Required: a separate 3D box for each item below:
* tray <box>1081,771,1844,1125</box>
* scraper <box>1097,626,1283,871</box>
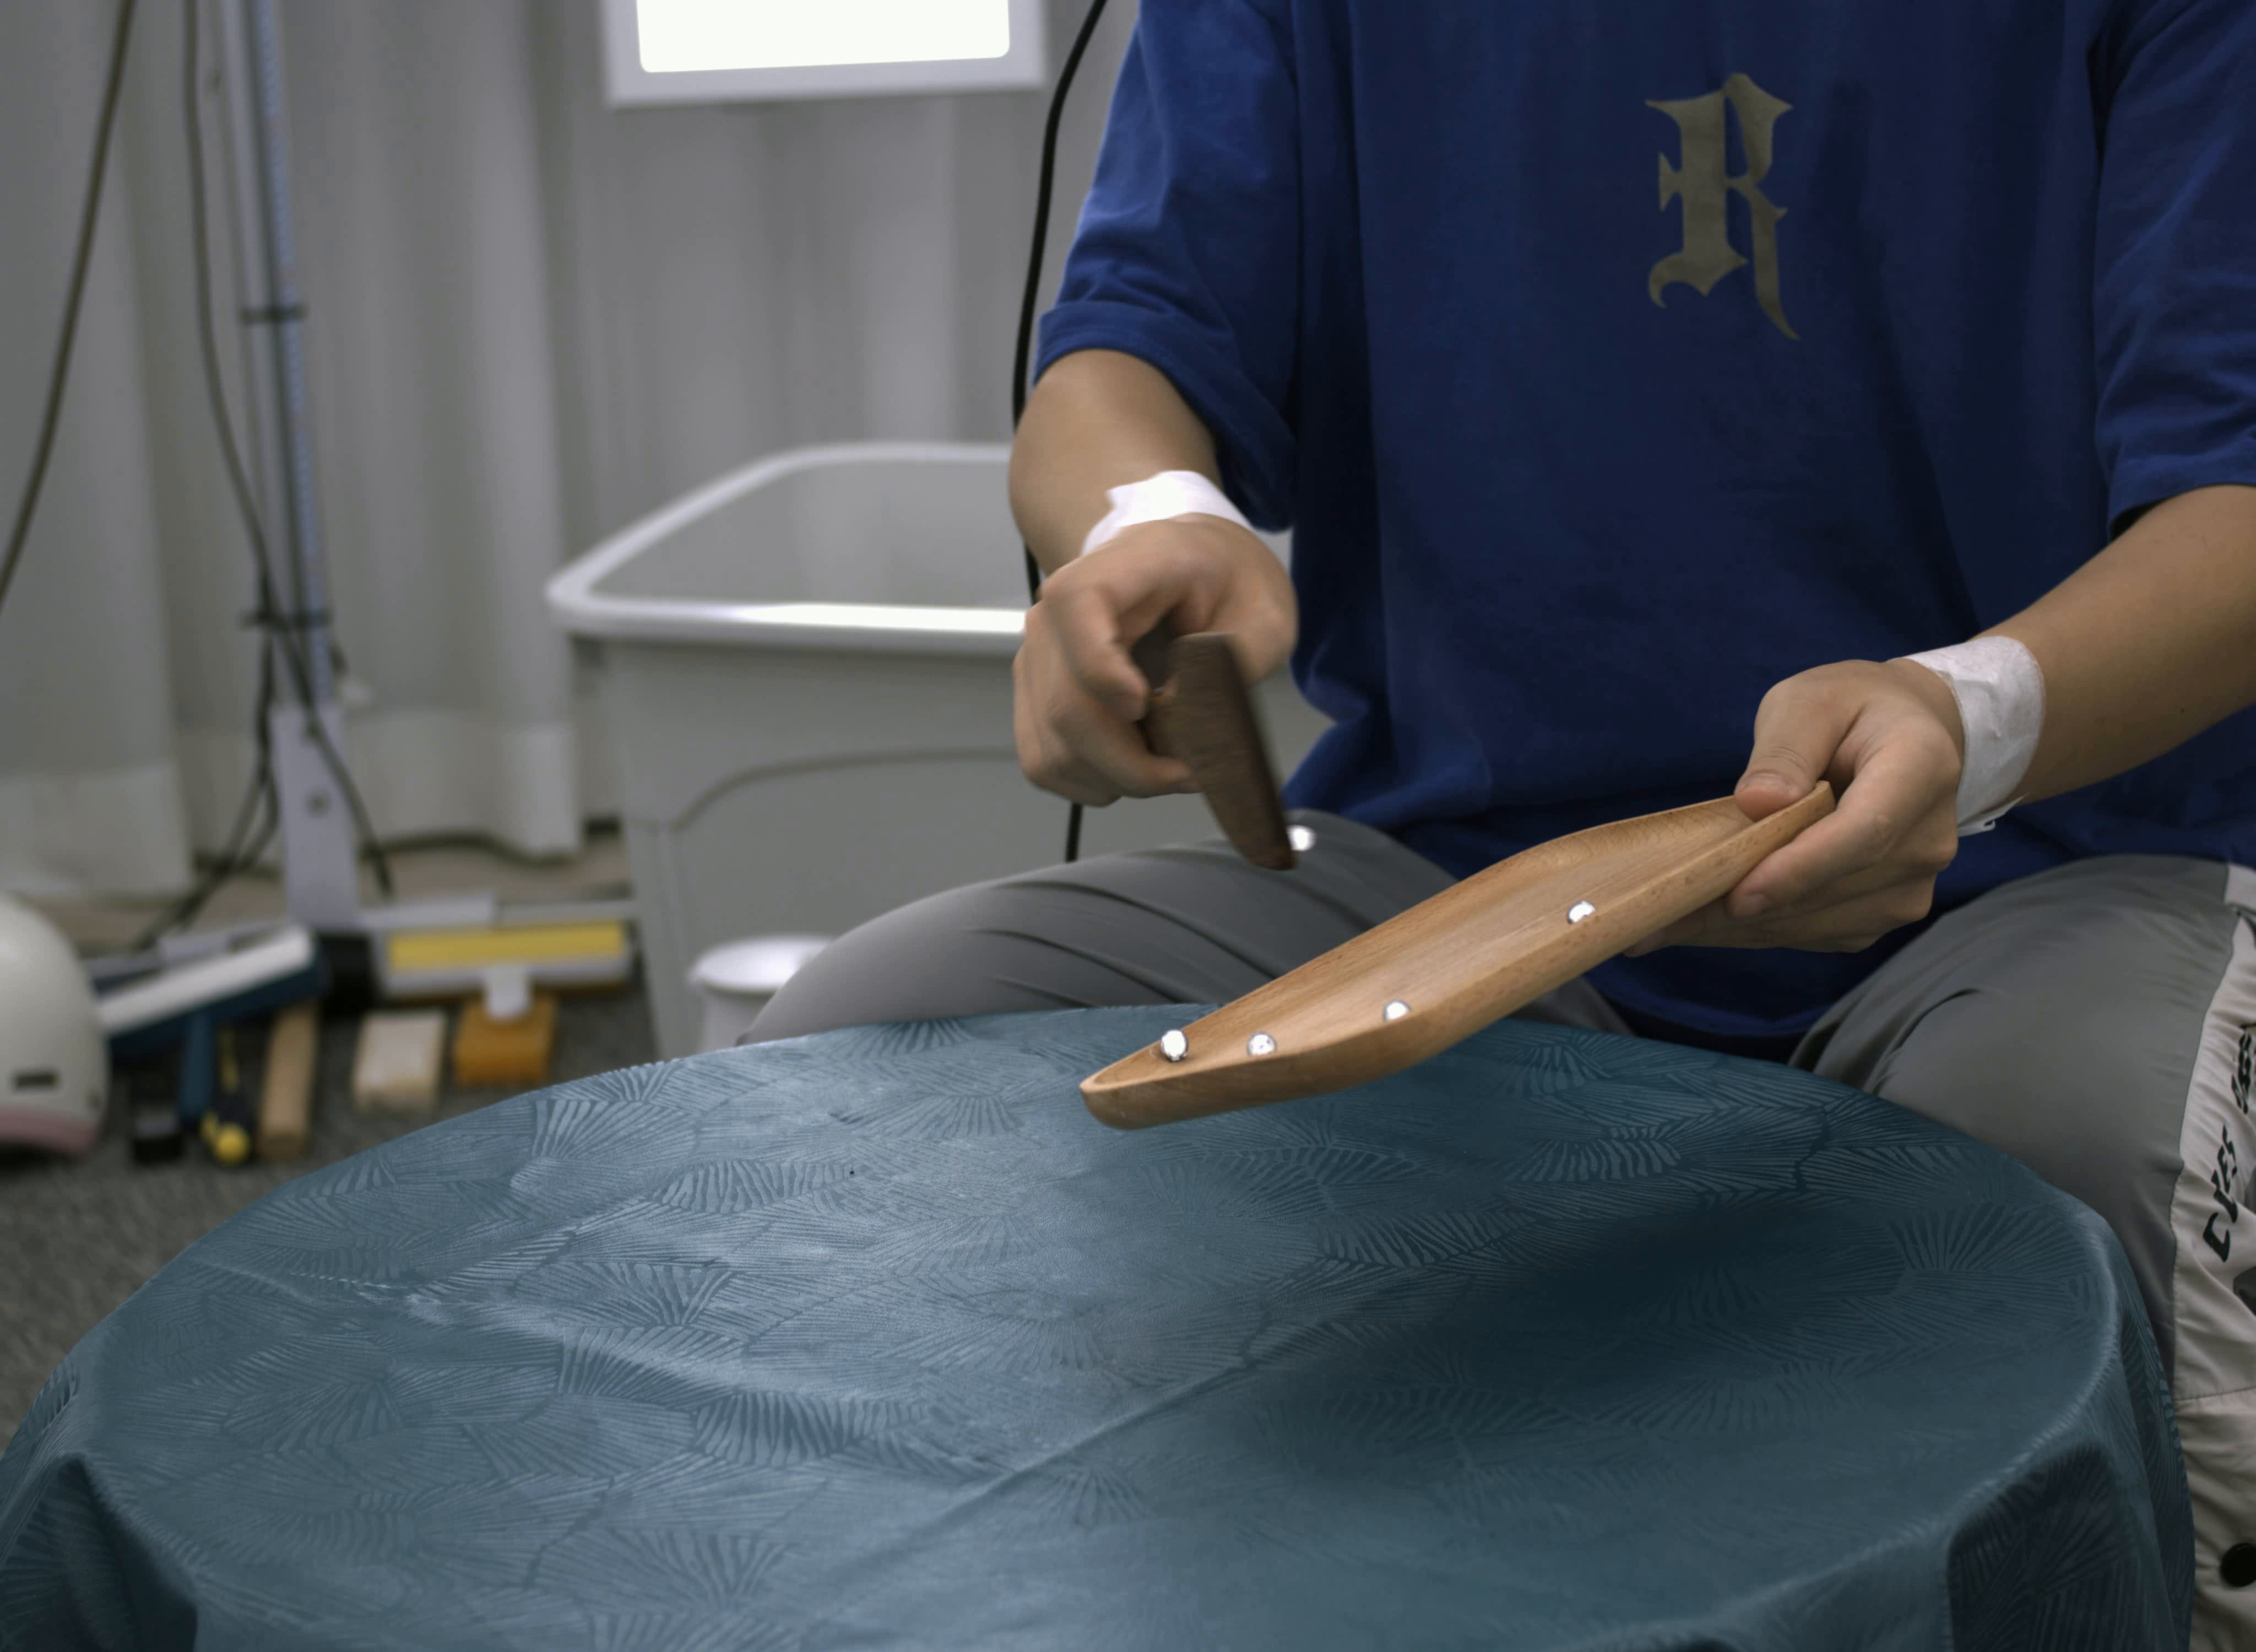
[{"bbox_3d":[0.101,0.035,1.582,0.130,0.023,0.251,-10,10,44],"label":"tray"},{"bbox_3d":[0.013,-0.030,1.686,0.011,0.076,0.212,-22,8,-7],"label":"scraper"}]
